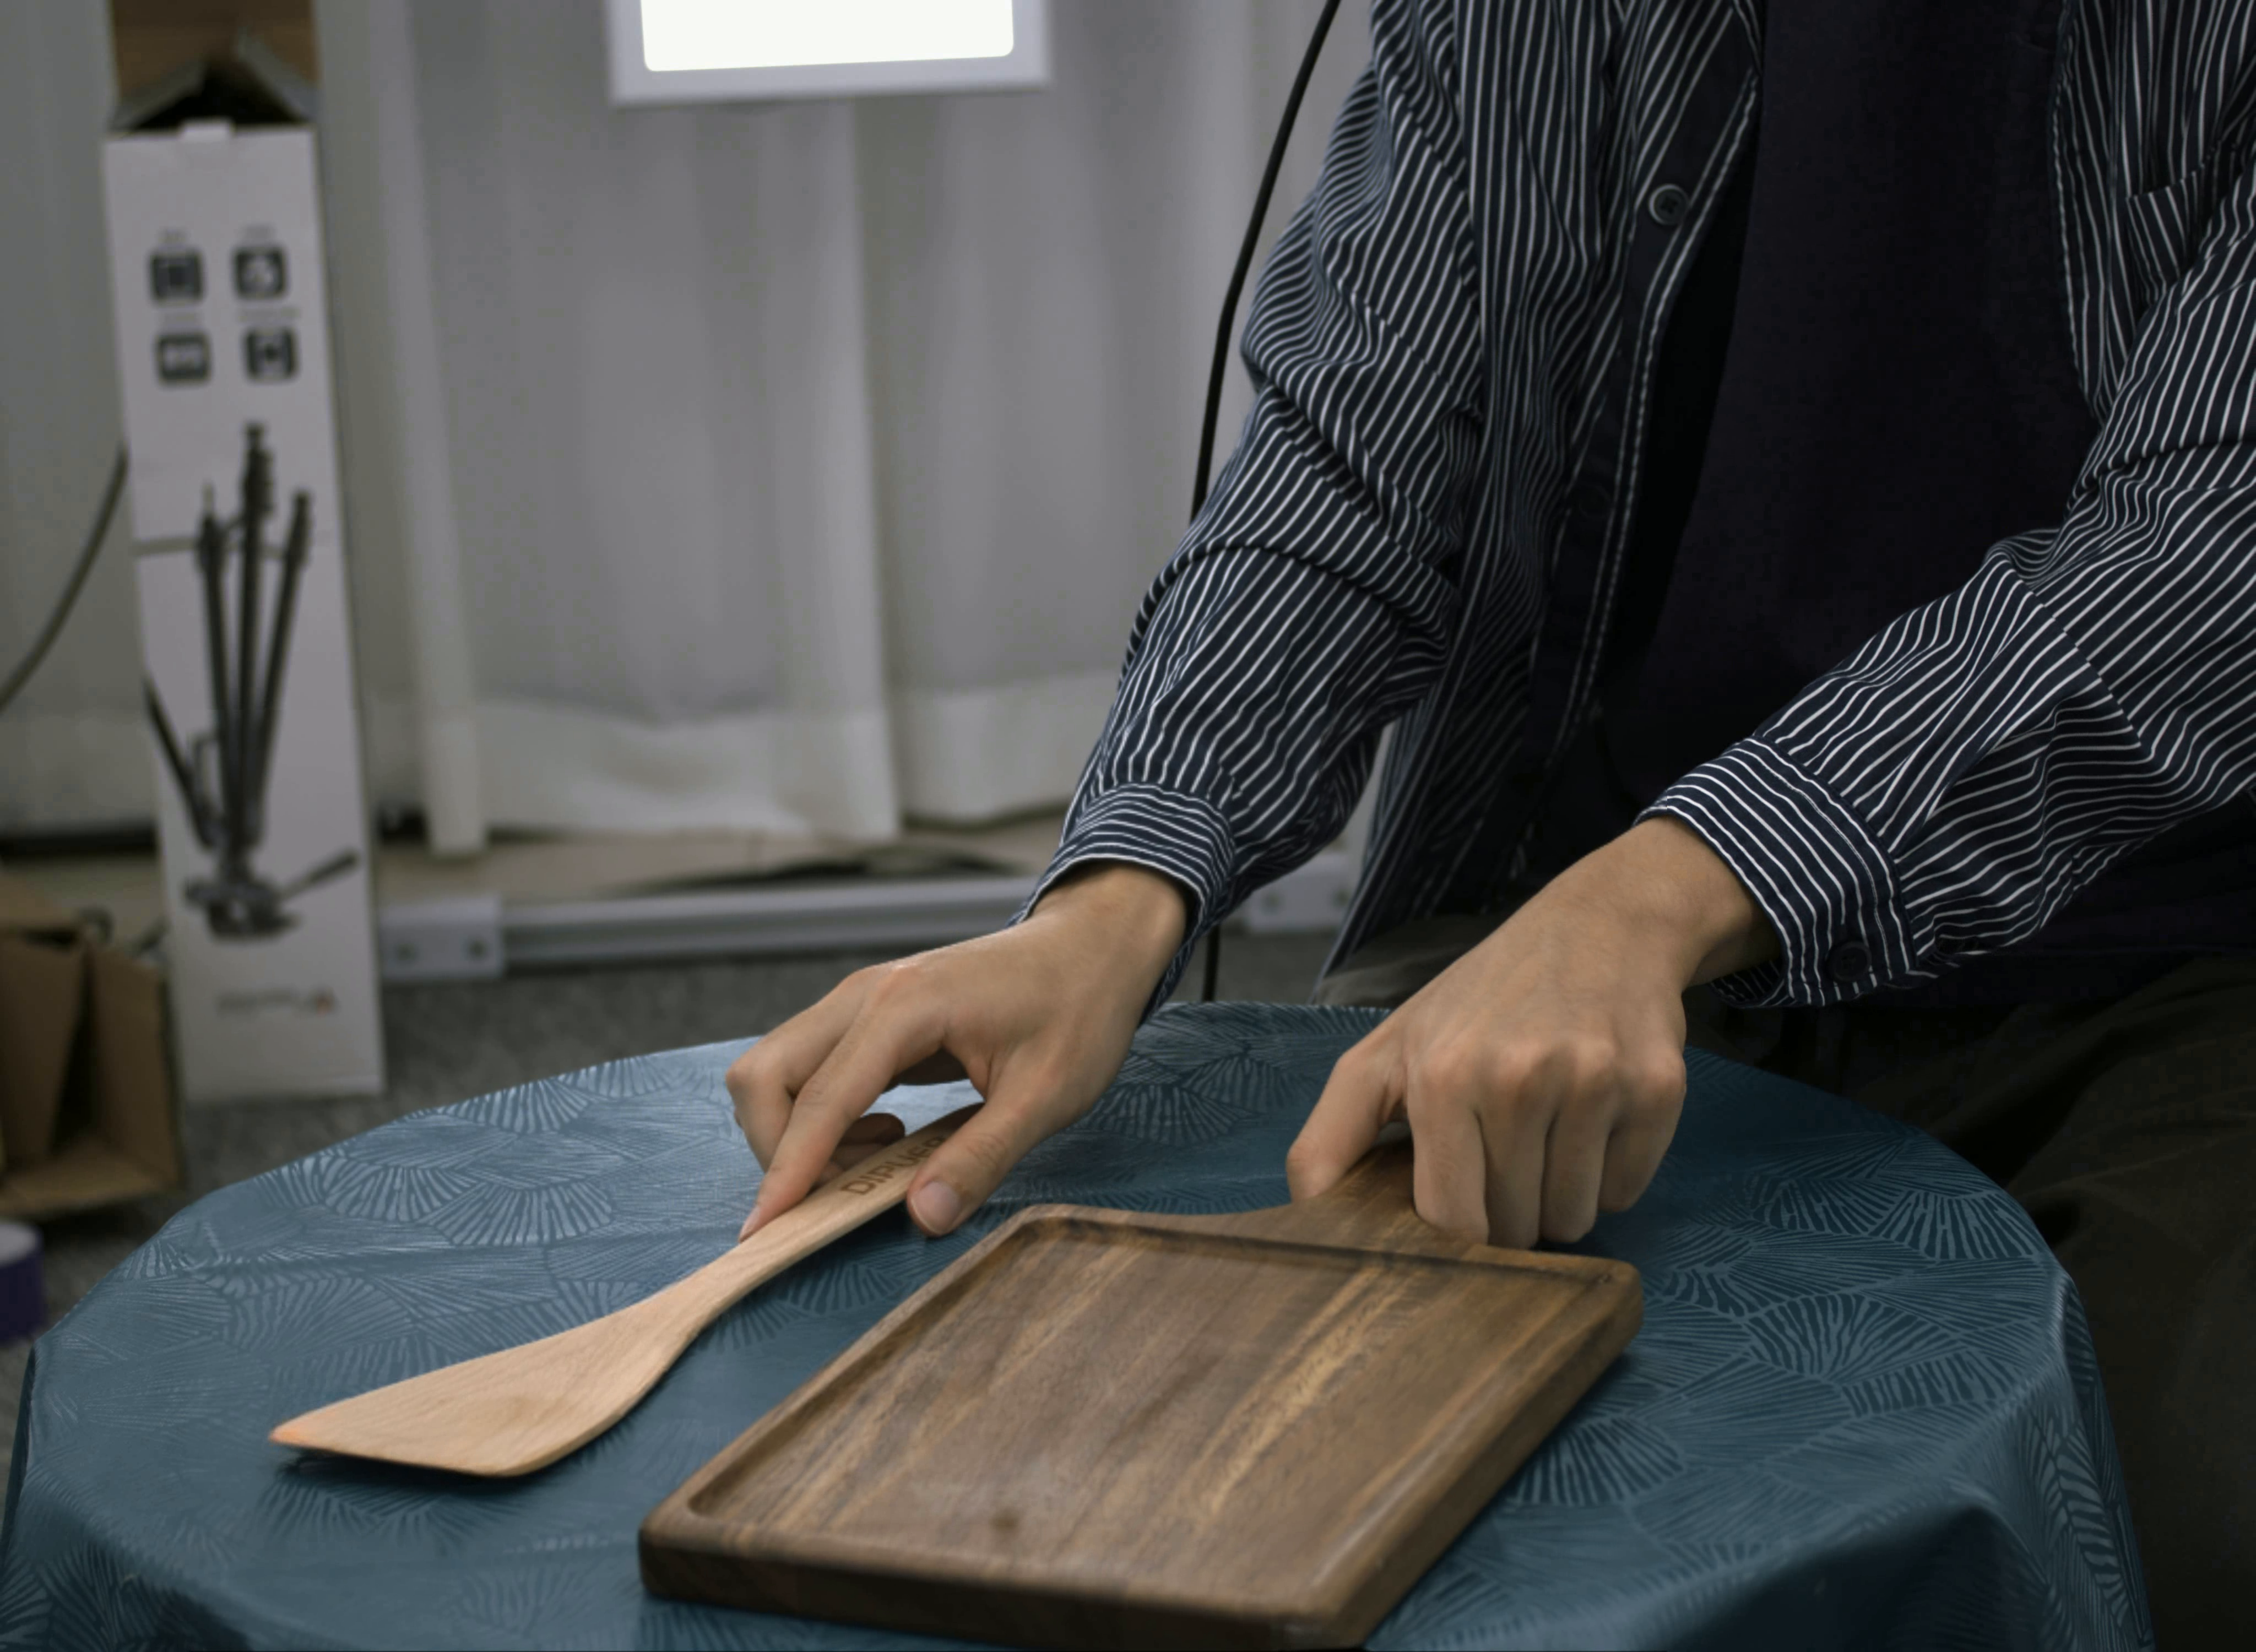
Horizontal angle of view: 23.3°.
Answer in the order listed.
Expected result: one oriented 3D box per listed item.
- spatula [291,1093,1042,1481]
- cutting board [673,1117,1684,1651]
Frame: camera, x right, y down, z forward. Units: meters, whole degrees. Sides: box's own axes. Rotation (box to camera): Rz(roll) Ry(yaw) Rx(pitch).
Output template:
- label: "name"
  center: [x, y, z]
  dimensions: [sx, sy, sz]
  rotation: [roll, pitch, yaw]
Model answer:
- label: "spatula"
  center: [-0.118, 0.133, 1.630]
  dimensions: [0.080, 0.016, 0.328]
  rotation: [8, 21, 30]
- label: "cutting board"
  center: [0.040, 0.149, 1.520]
  dimensions: [0.201, 0.023, 0.353]
  rotation: [4, 18, 25]
